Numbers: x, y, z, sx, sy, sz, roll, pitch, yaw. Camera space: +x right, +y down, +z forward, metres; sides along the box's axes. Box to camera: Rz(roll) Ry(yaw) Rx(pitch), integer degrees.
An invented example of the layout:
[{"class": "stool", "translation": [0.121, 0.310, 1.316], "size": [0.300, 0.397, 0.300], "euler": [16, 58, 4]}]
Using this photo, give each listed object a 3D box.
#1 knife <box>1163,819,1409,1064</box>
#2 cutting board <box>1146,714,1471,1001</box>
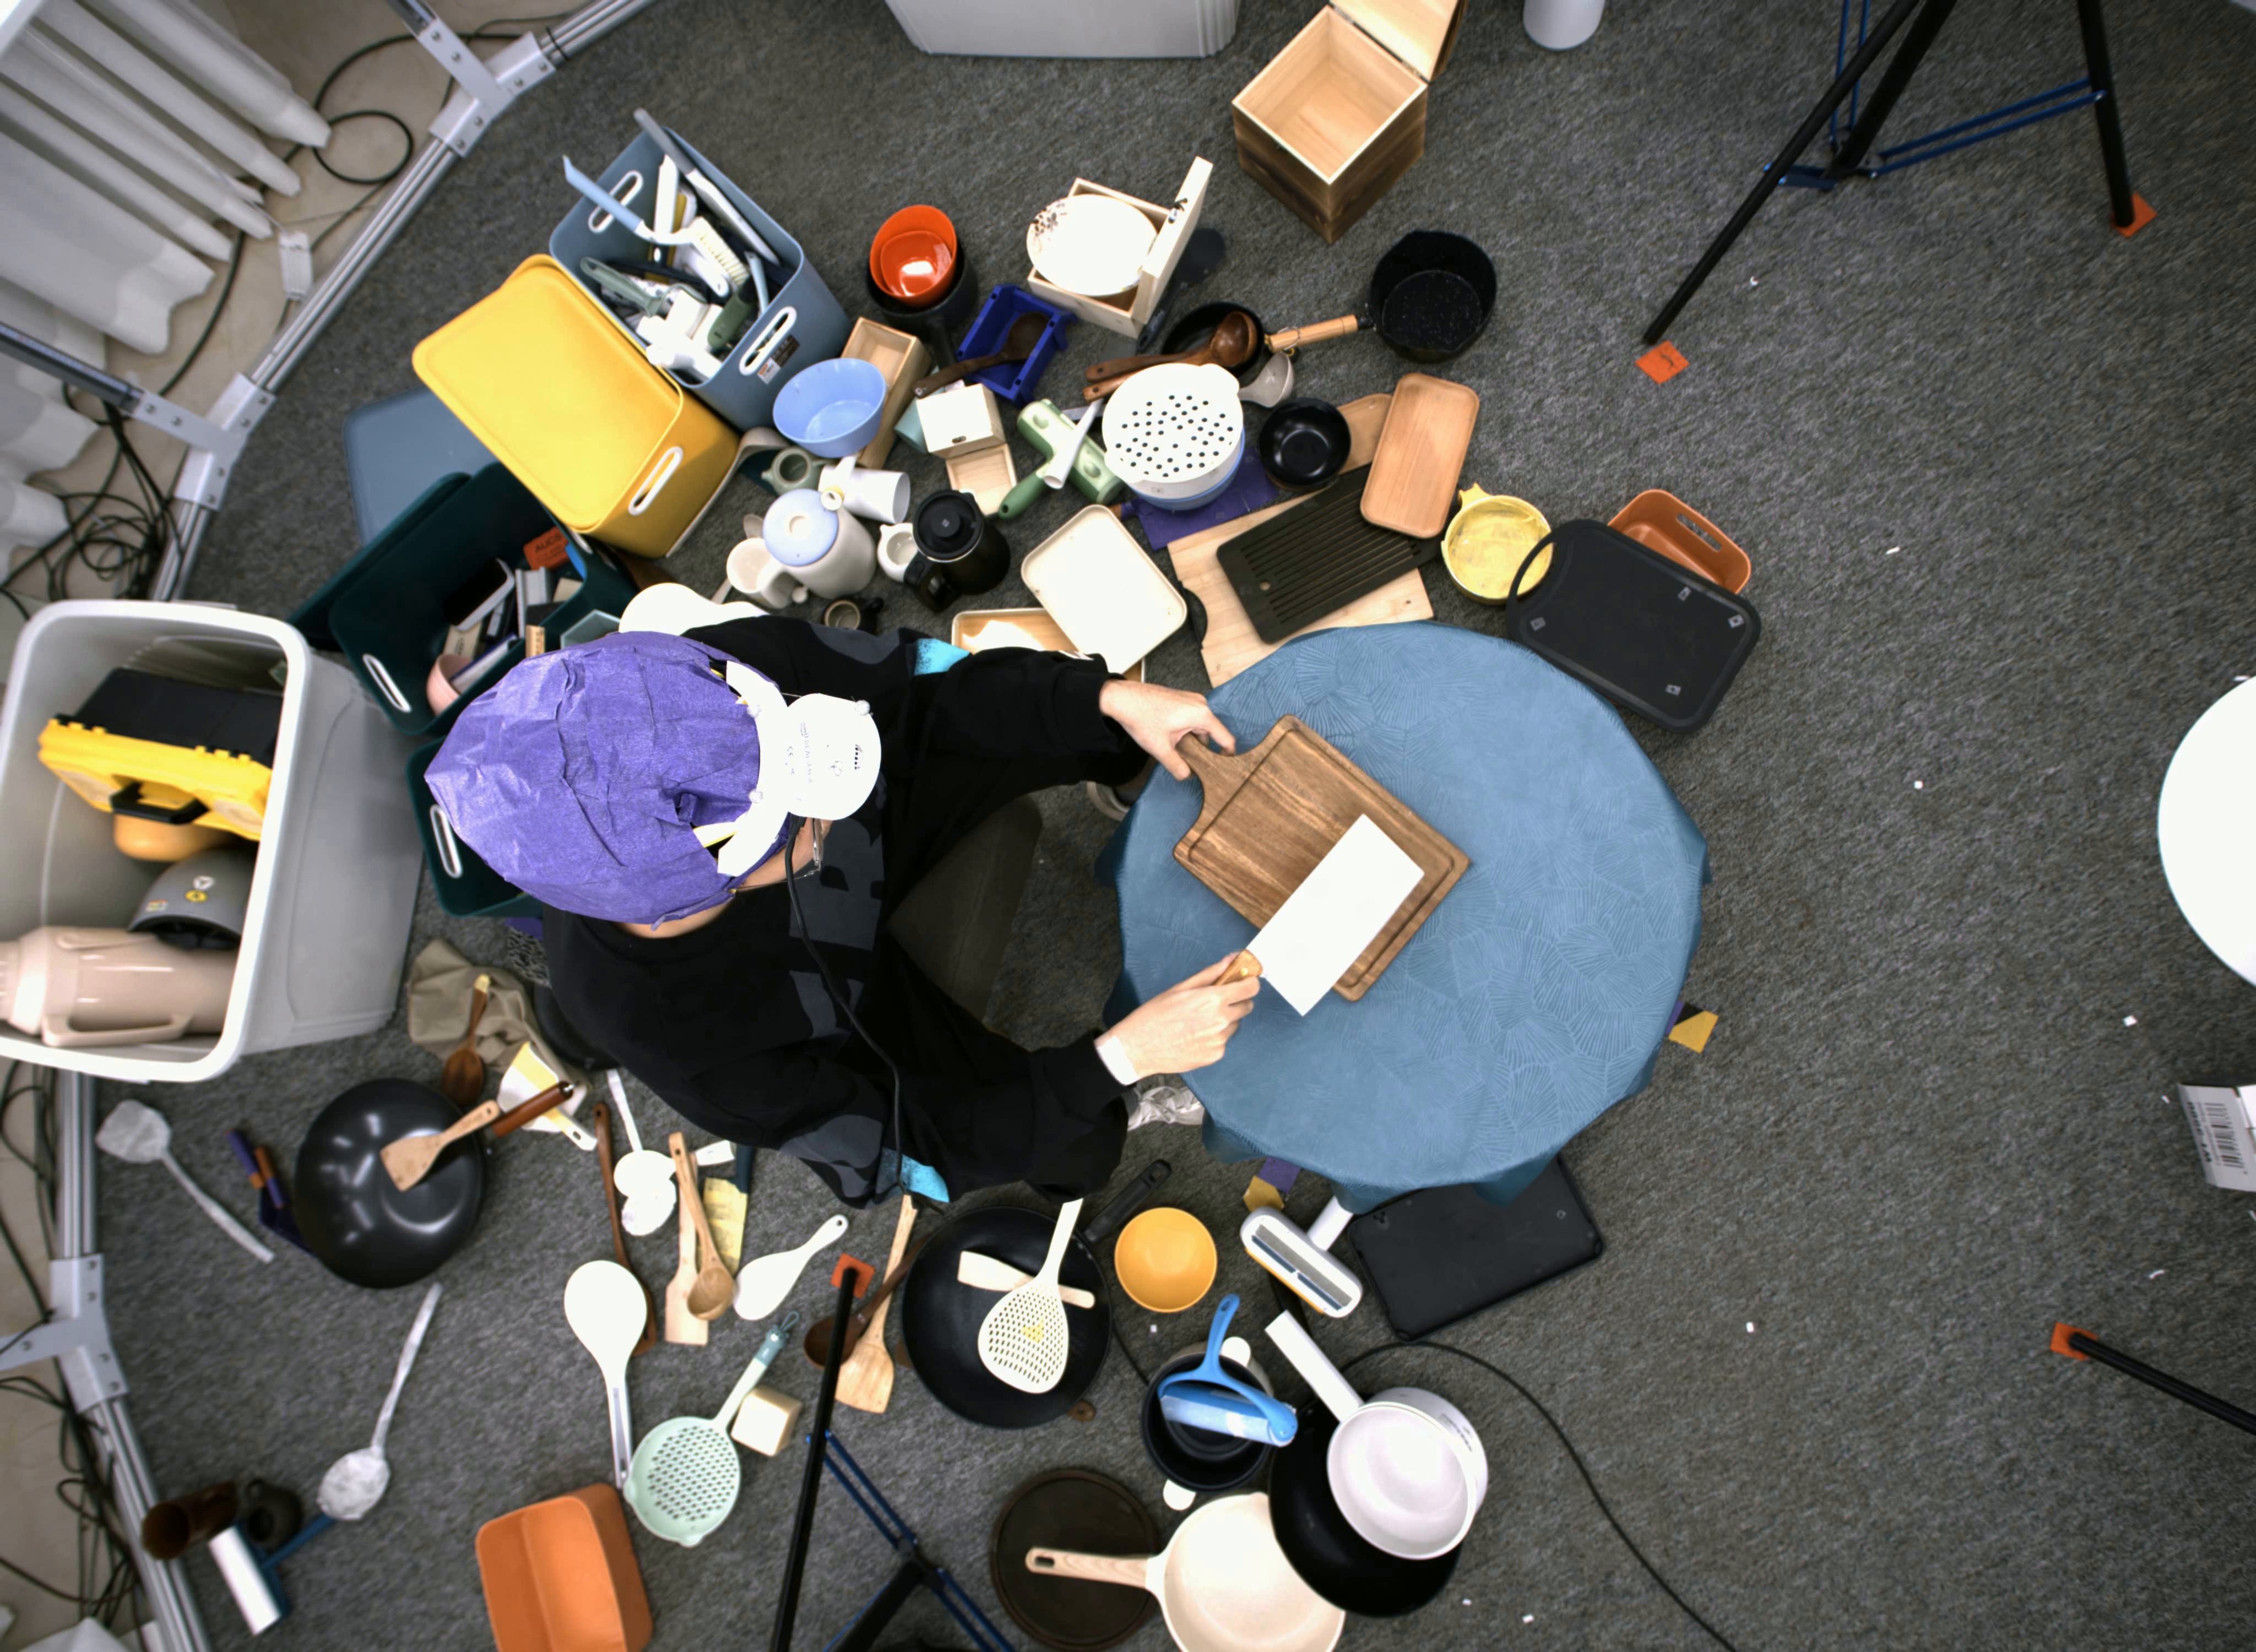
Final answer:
[{"class": "knife", "translation": [0.163, 0.128, 1.359], "size": [0.093, 0.021, 0.304], "euler": [44, 84, -9]}, {"class": "cutting board", "translation": [0.164, 0.002, 1.441], "size": [0.352, 0.023, 0.201], "euler": [38, 94, 0]}]
